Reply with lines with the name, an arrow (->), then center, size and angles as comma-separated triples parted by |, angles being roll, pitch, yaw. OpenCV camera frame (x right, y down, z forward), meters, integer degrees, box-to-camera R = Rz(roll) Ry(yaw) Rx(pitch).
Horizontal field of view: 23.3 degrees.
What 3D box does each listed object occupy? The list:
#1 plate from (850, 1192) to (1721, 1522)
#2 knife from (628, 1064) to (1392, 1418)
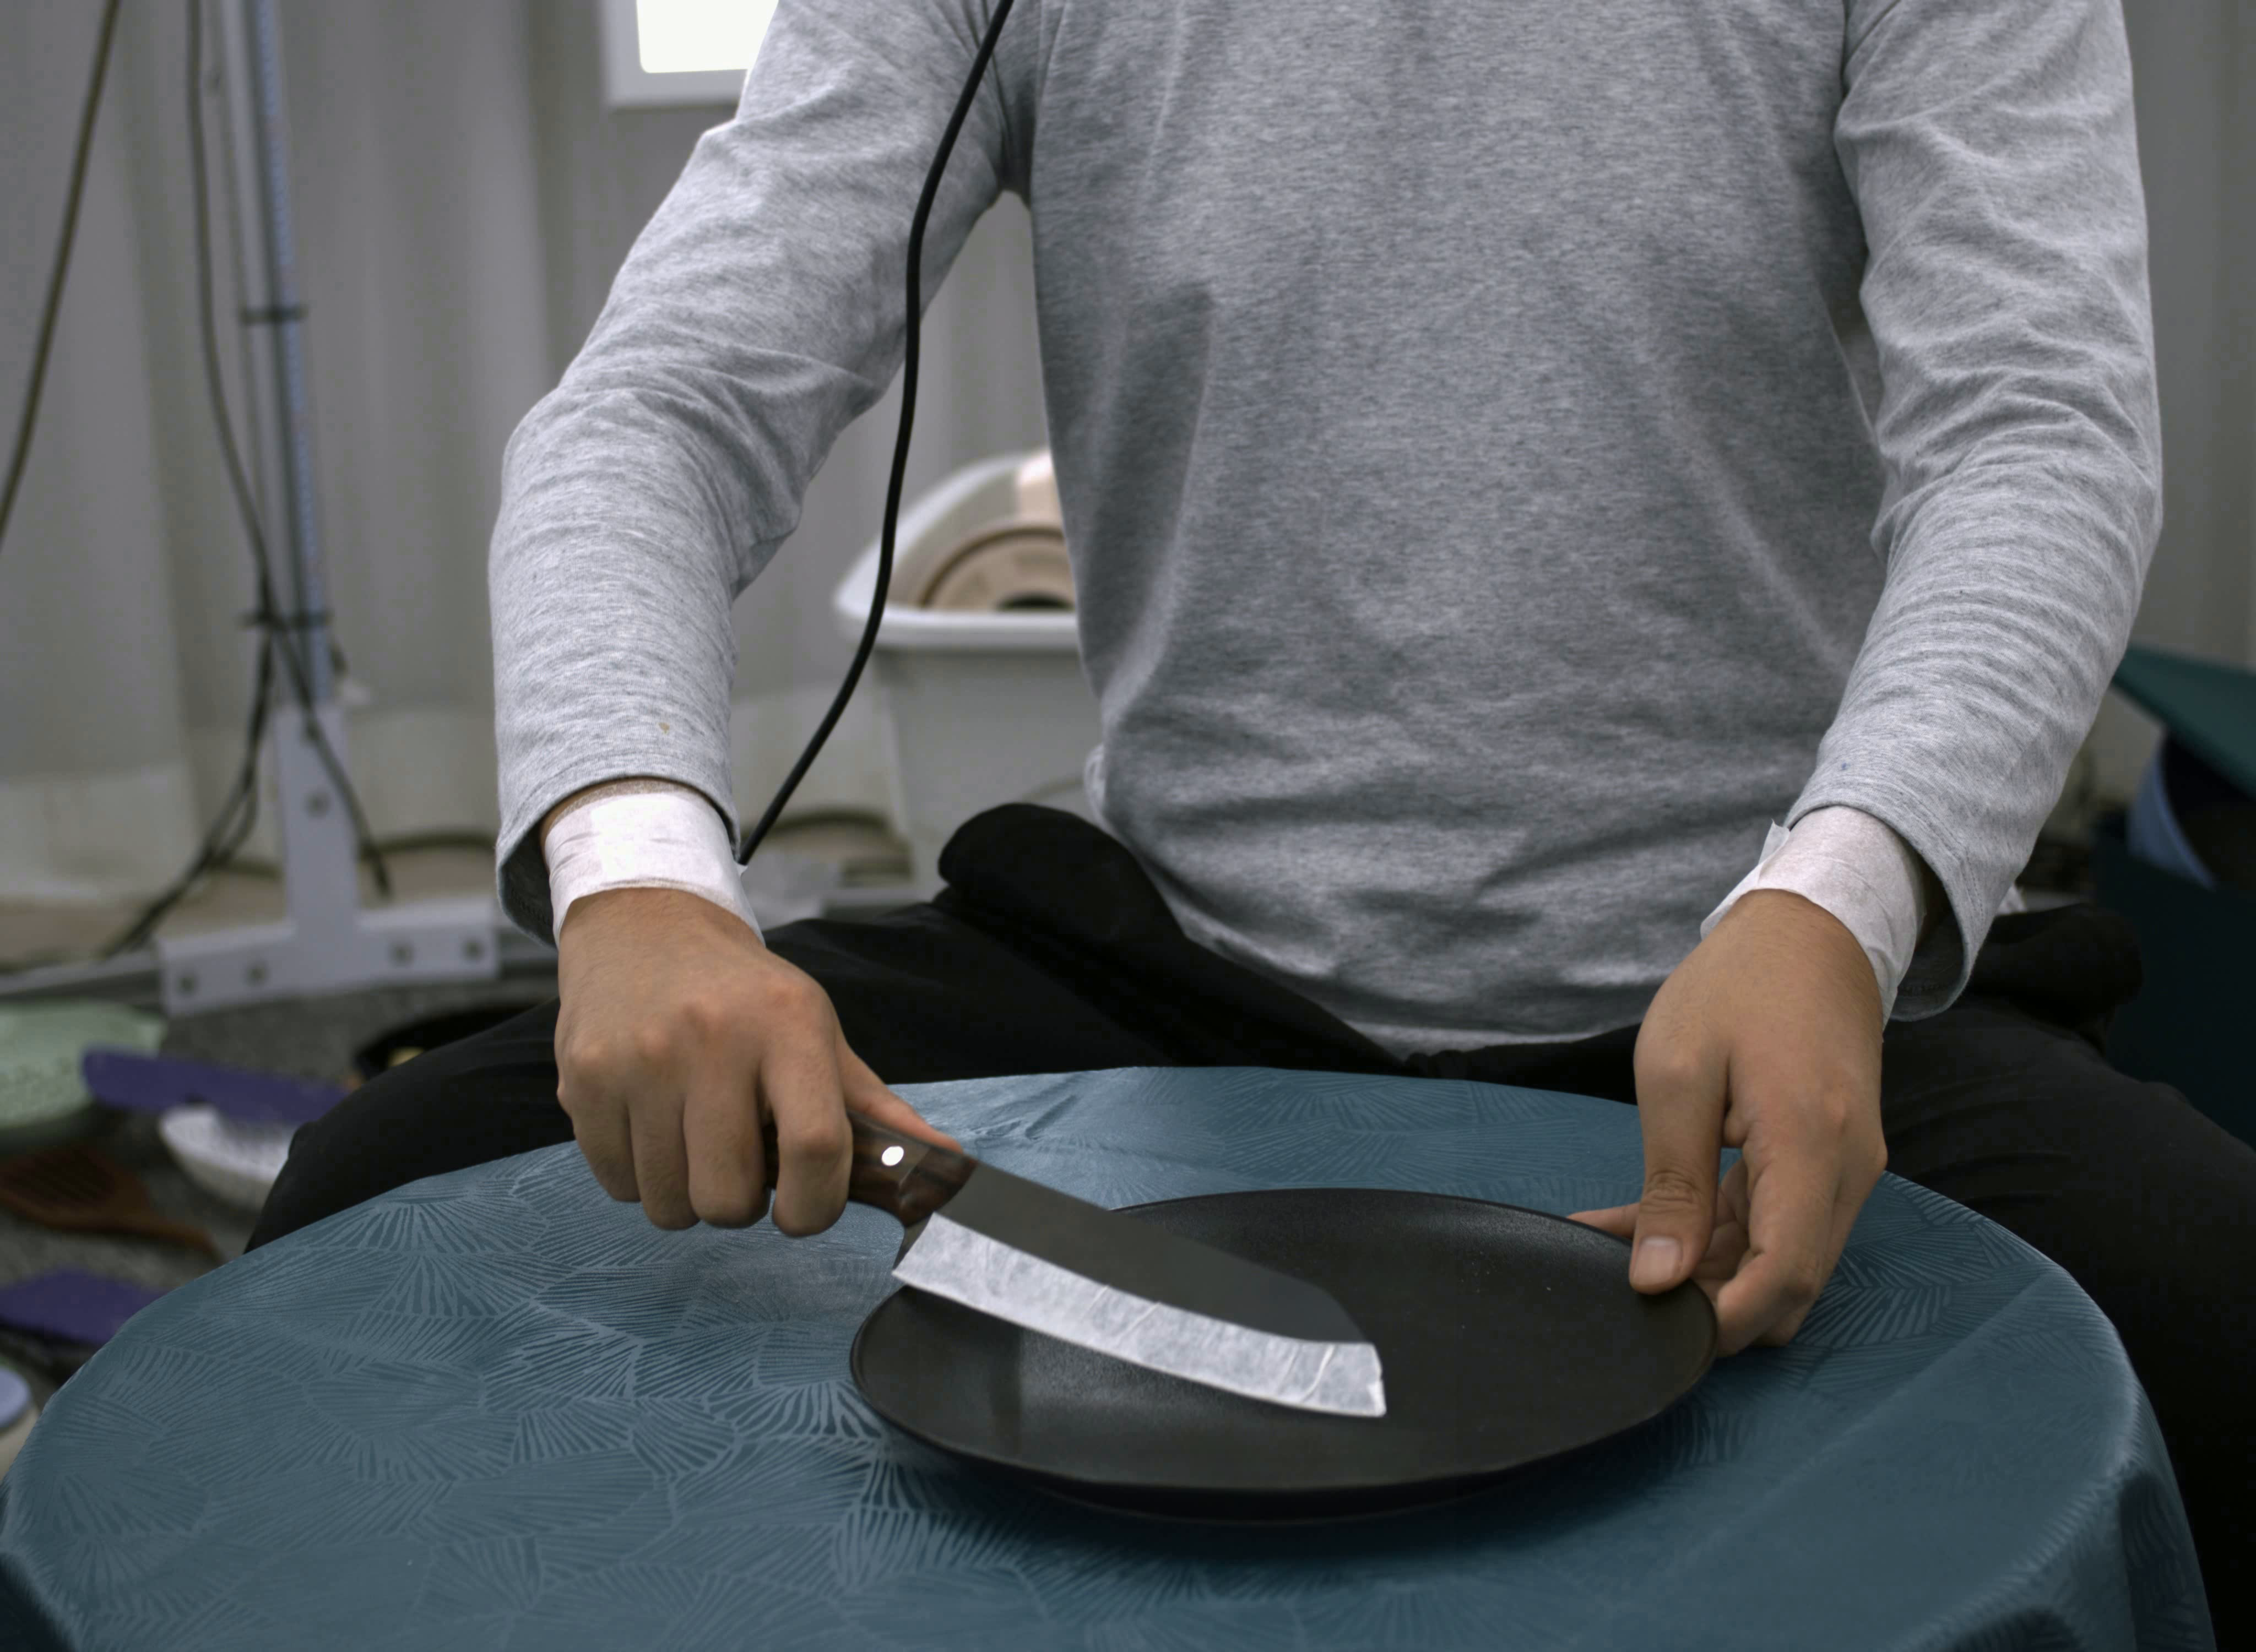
plate -> 0.044, 0.151, 1.528 | 0.243, 0.023, 0.246 | -3, 15, 0
knife -> -0.039, 0.119, 1.574 | 0.291, 0.020, 0.050 | 19, 62, 36
